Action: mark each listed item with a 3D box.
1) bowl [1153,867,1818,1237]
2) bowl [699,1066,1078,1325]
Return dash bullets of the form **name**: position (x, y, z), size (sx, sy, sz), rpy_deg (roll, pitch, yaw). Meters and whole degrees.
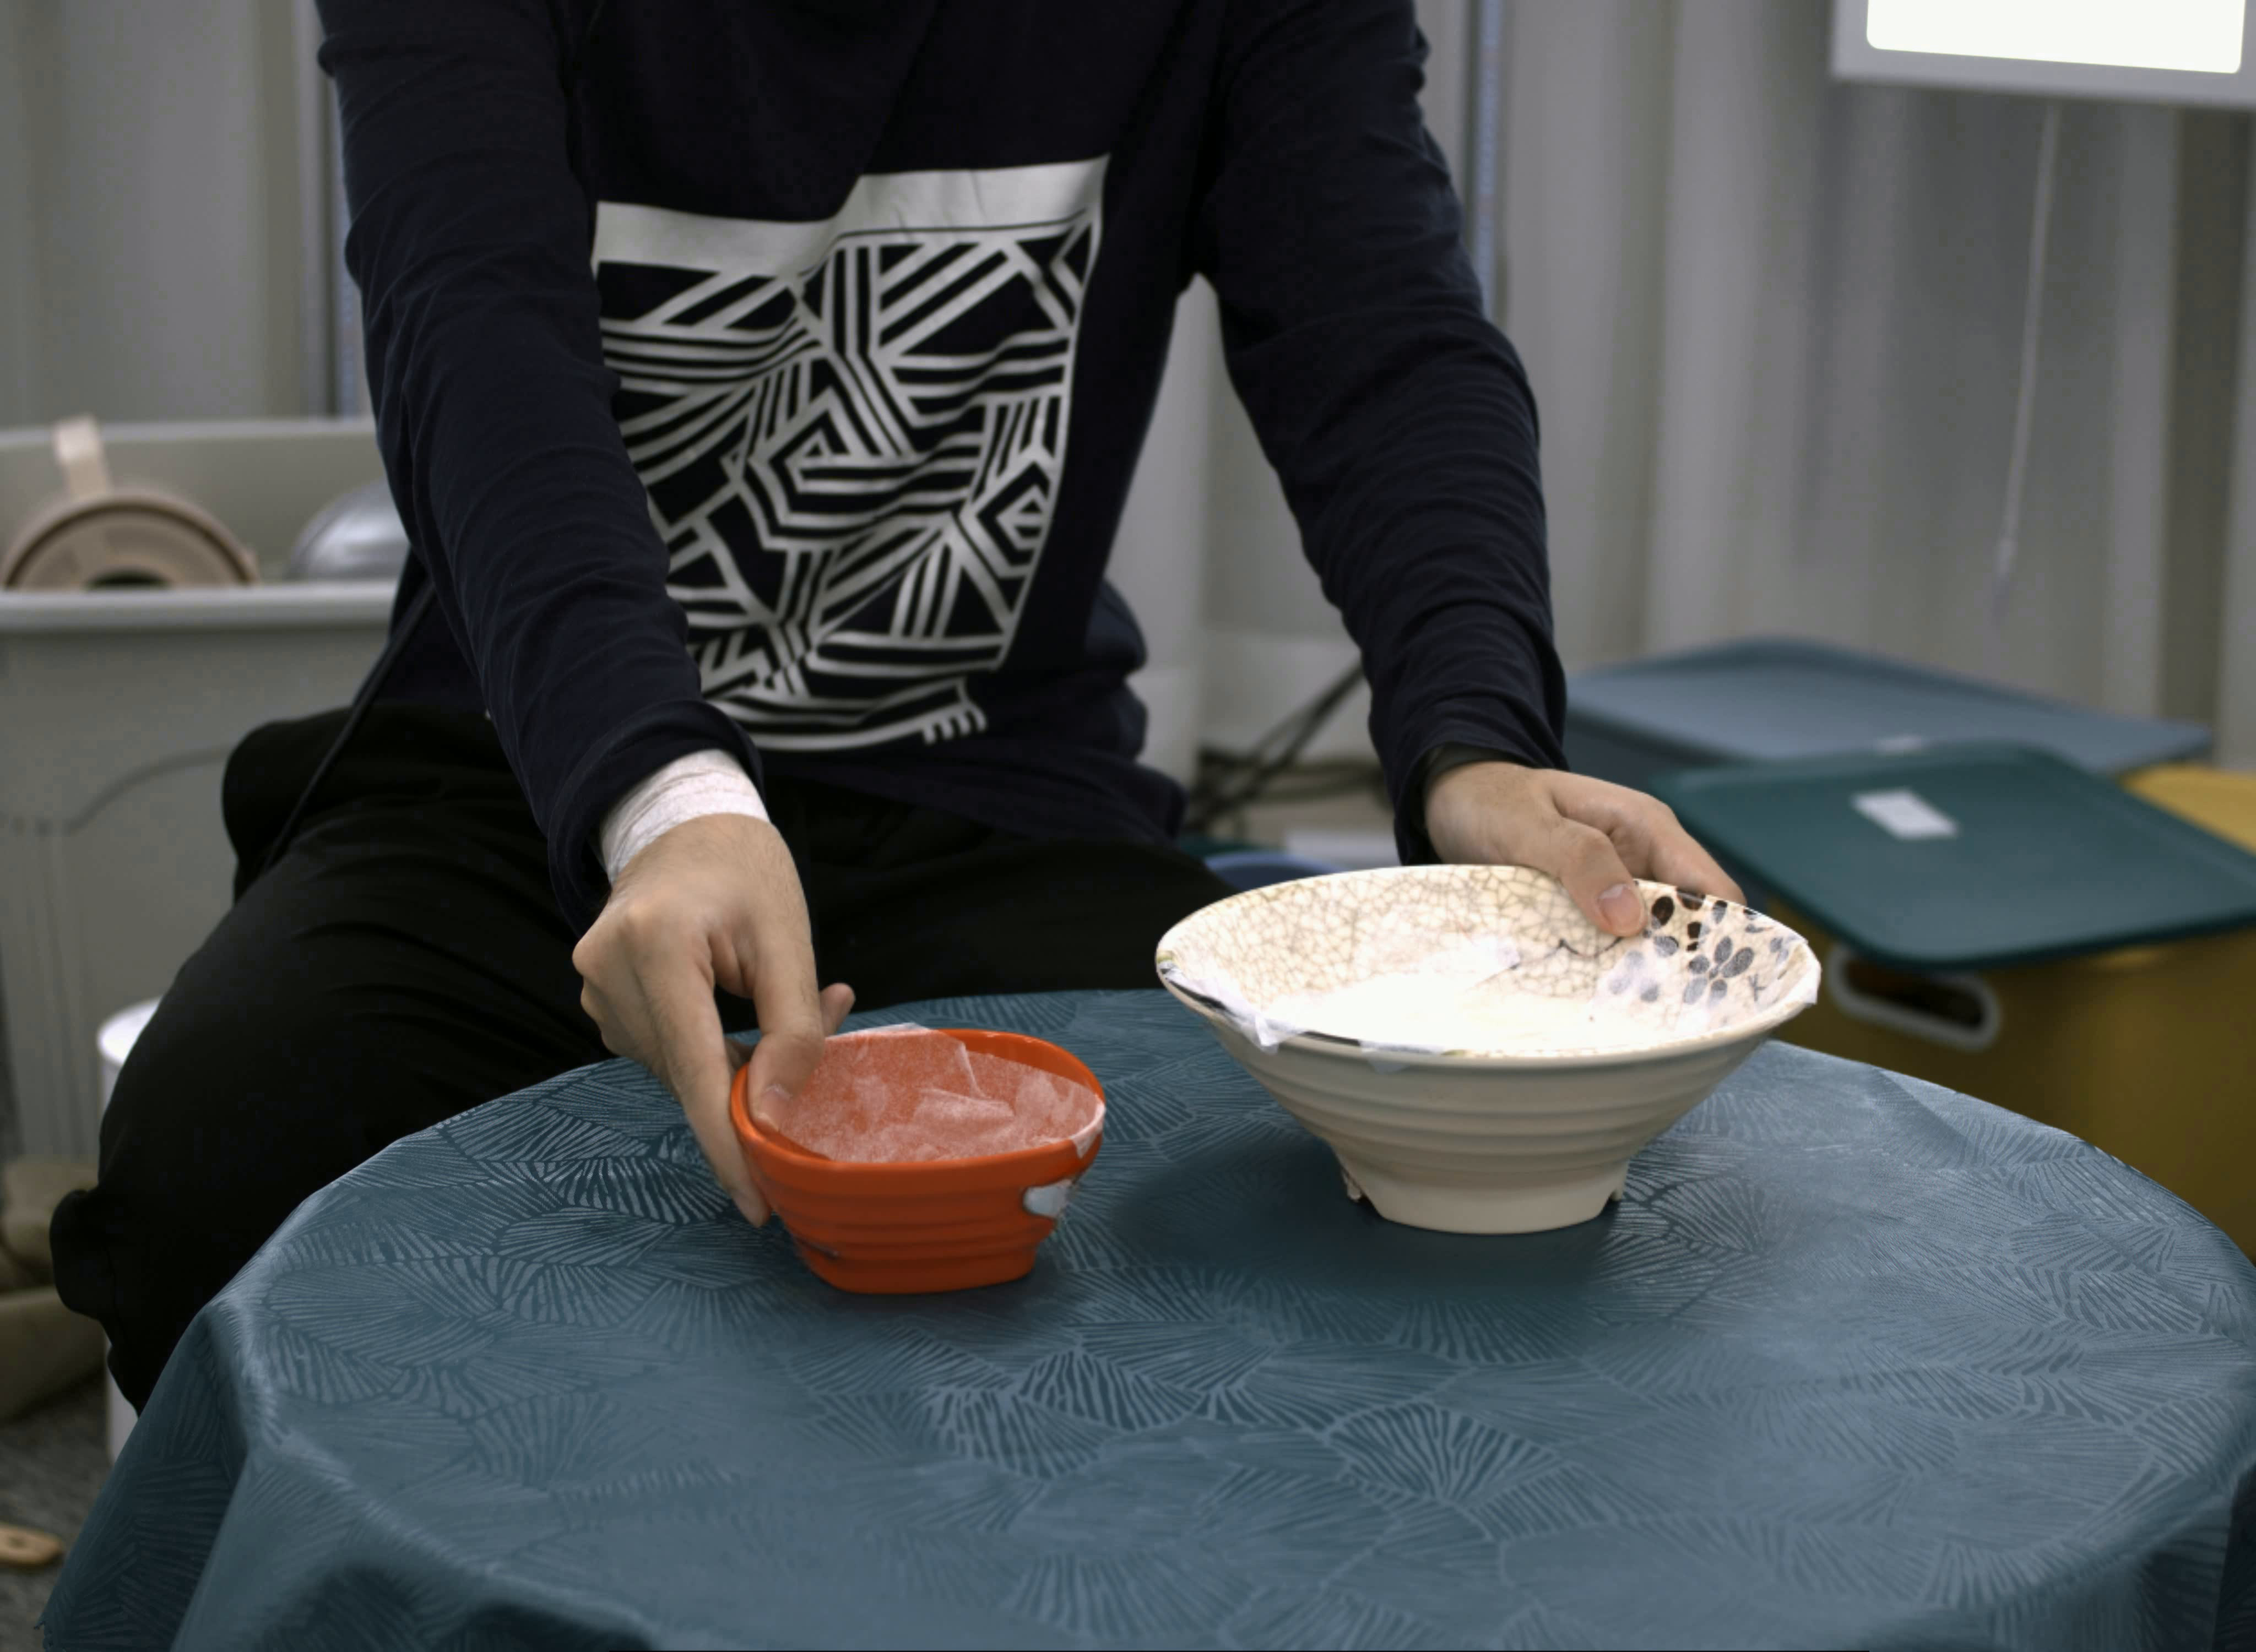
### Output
- **bowl**: position (0.108, 0.076, 1.619), size (0.203, 0.078, 0.203), rpy_deg (1, 15, 0)
- **bowl**: position (-0.073, 0.112, 1.560), size (0.118, 0.052, 0.118), rpy_deg (6, 16, -1)
